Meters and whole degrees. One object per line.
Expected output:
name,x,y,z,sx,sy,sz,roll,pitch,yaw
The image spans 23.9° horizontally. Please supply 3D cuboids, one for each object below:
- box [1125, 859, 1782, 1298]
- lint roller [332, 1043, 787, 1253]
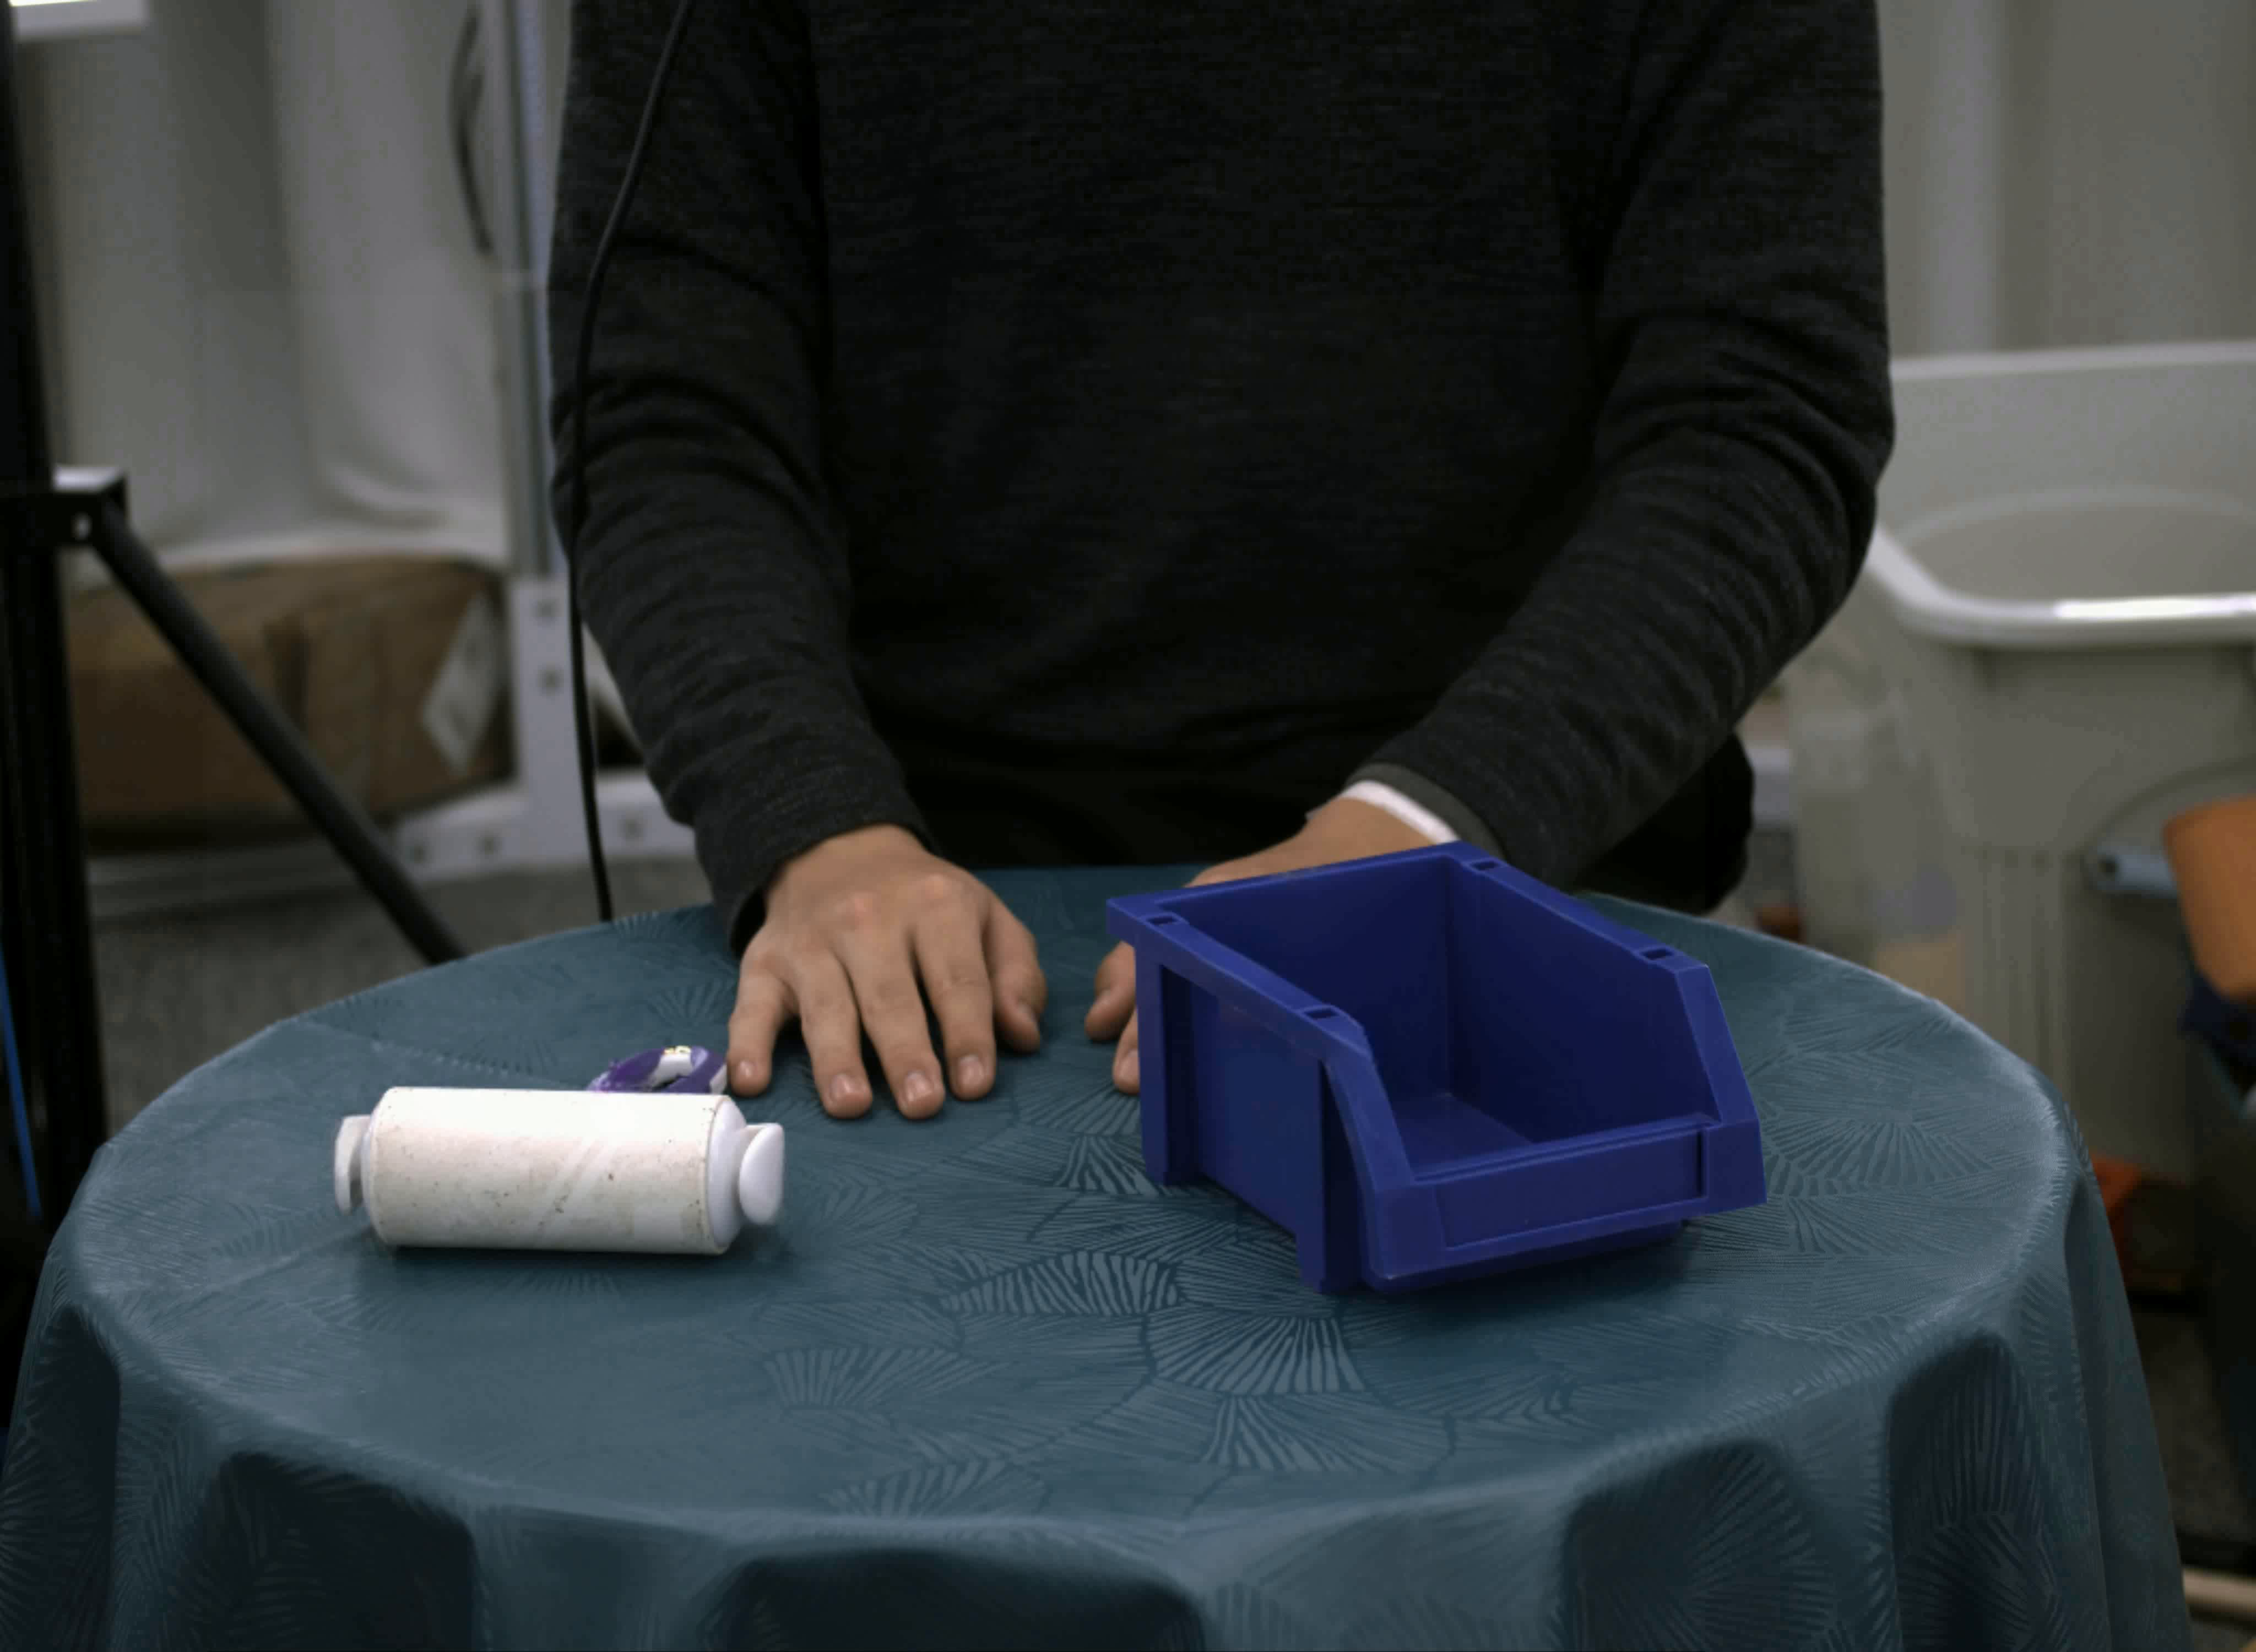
box,0.092,0.074,1.514,0.122,0.082,0.182,-8,14,-21
lint roller,-0.151,0.081,1.593,0.134,0.050,0.180,-1,17,13
